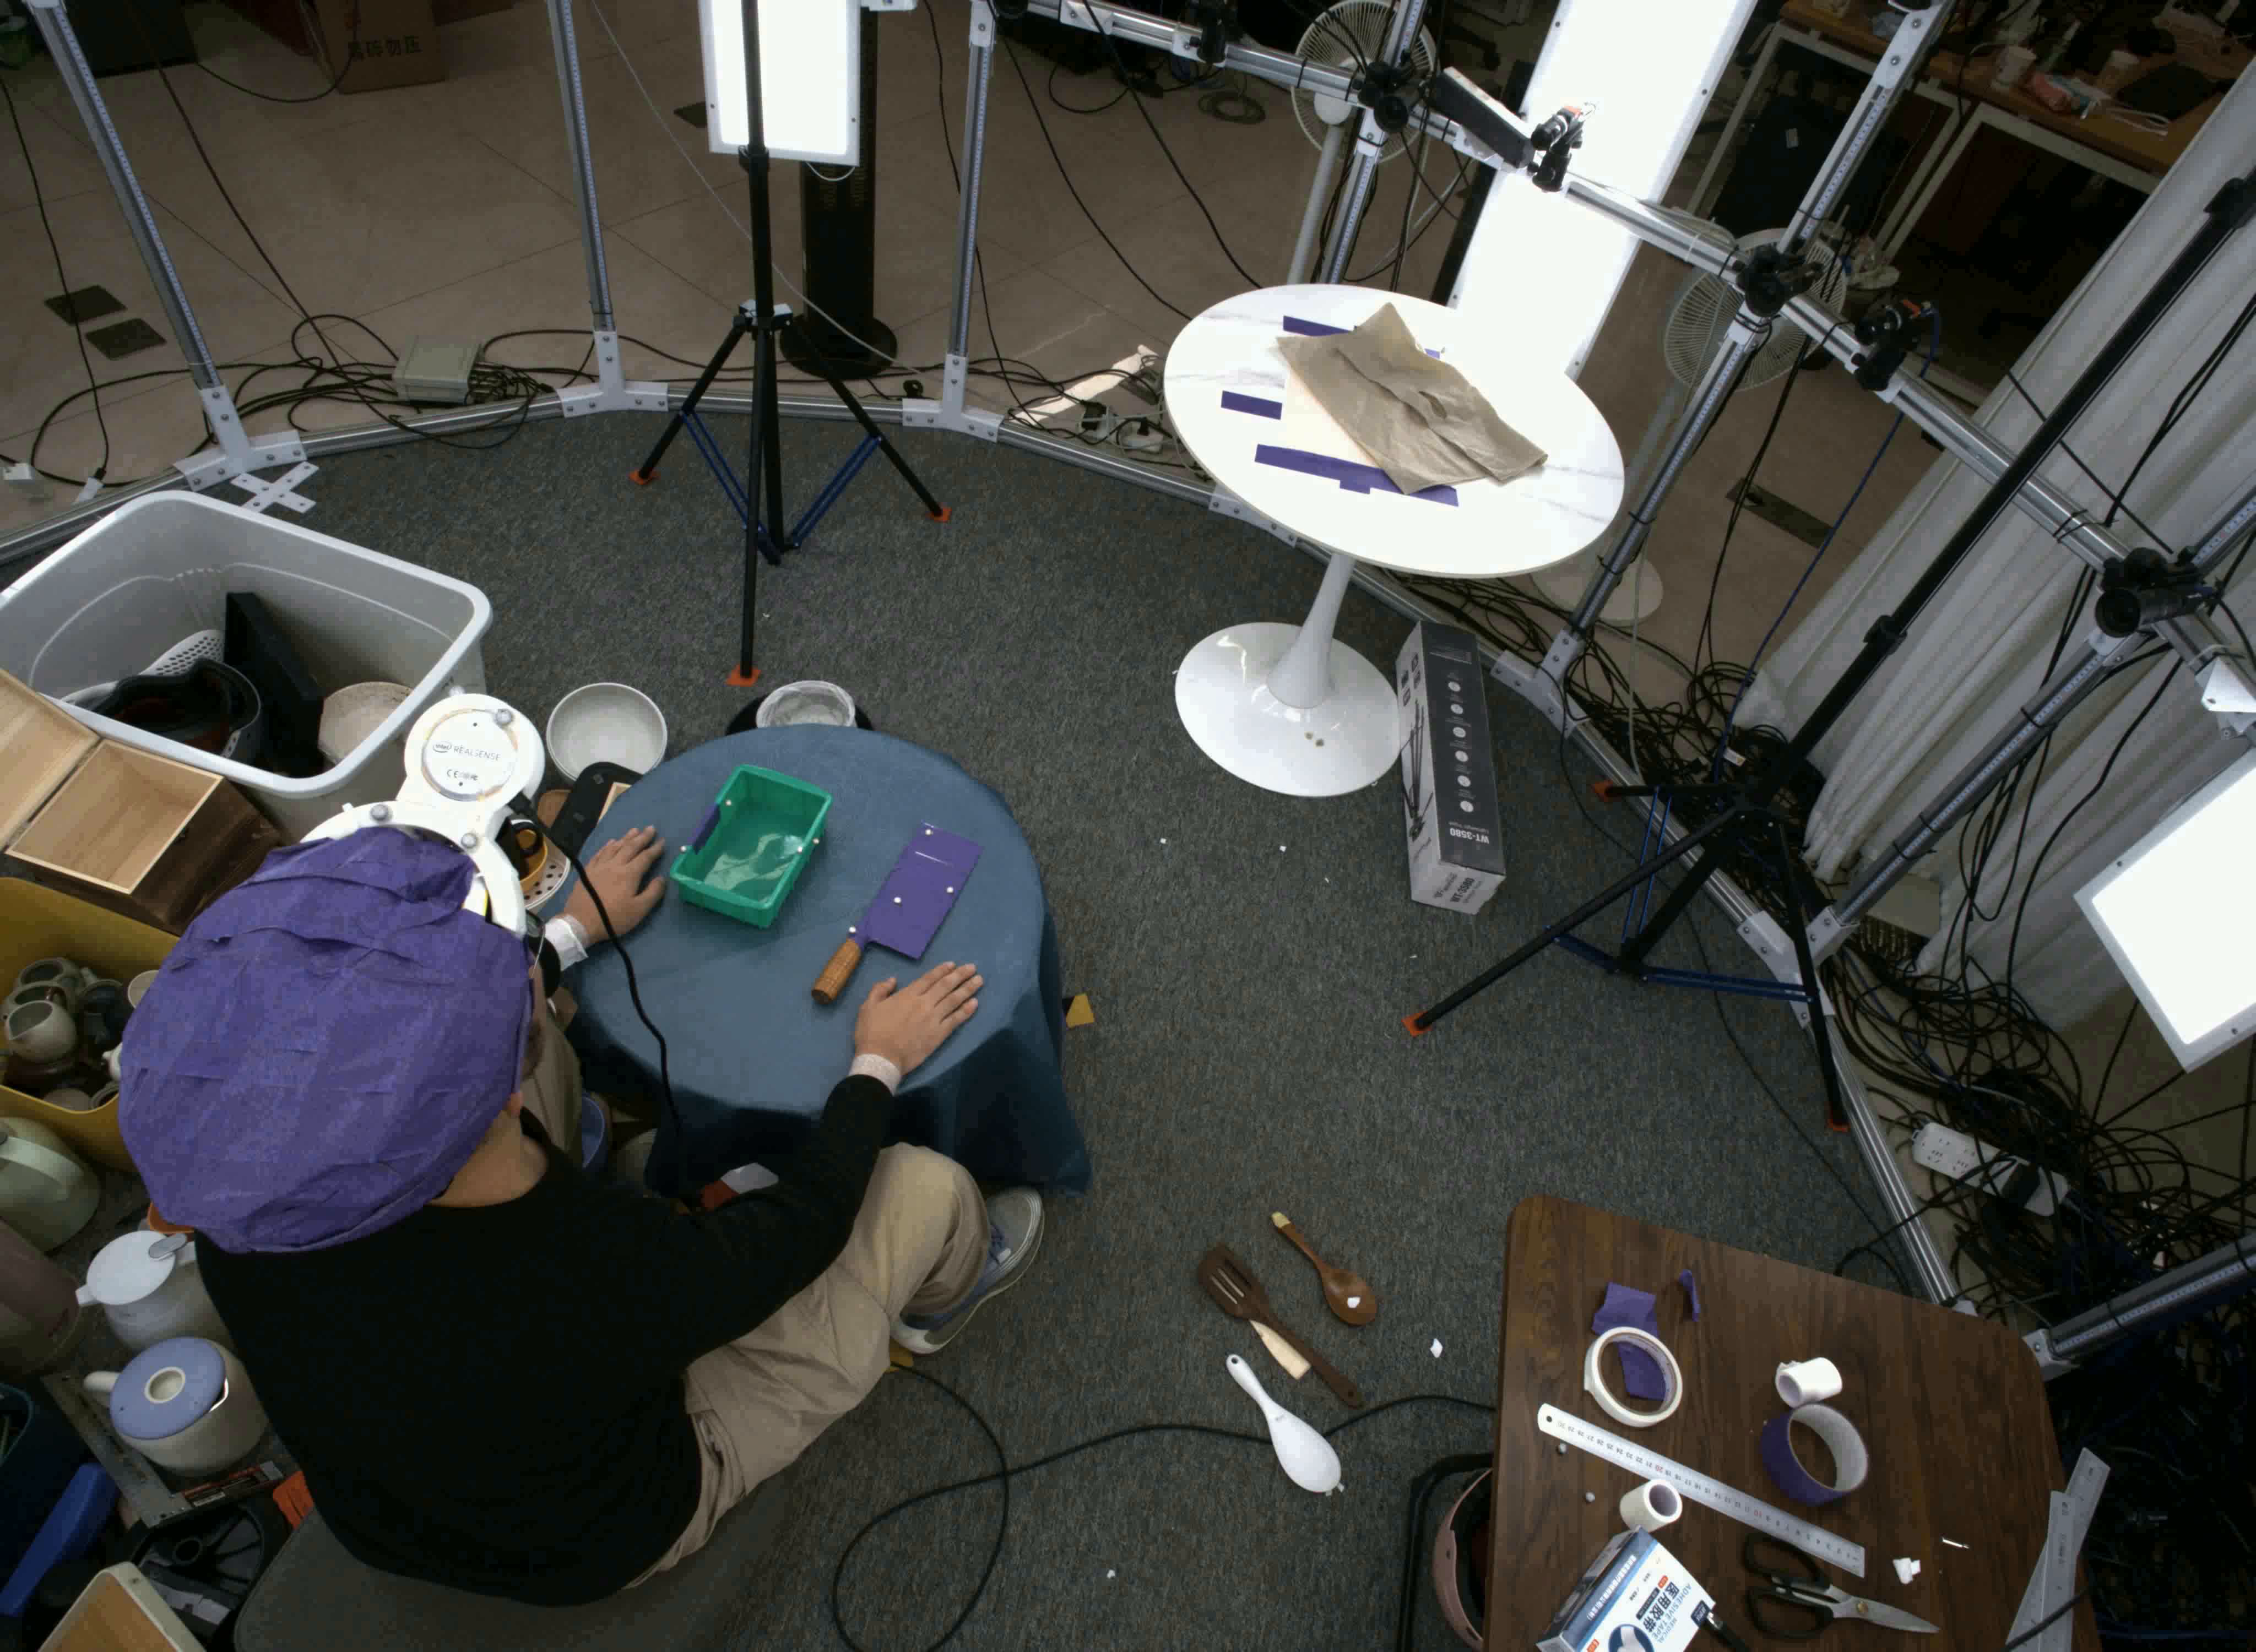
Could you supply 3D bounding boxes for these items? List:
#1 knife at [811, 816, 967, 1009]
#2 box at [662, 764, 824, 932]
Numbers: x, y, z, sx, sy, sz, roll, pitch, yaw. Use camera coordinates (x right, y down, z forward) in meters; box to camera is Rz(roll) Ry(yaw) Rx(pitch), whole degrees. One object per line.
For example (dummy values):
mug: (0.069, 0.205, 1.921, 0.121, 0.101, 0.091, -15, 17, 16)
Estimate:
knife: (-0.294, 0.109, 1.655, 0.103, 0.033, 0.312, 21, 51, 2)
box: (-0.484, 0.029, 1.641, 0.137, 0.066, 0.208, 17, 53, 1)
